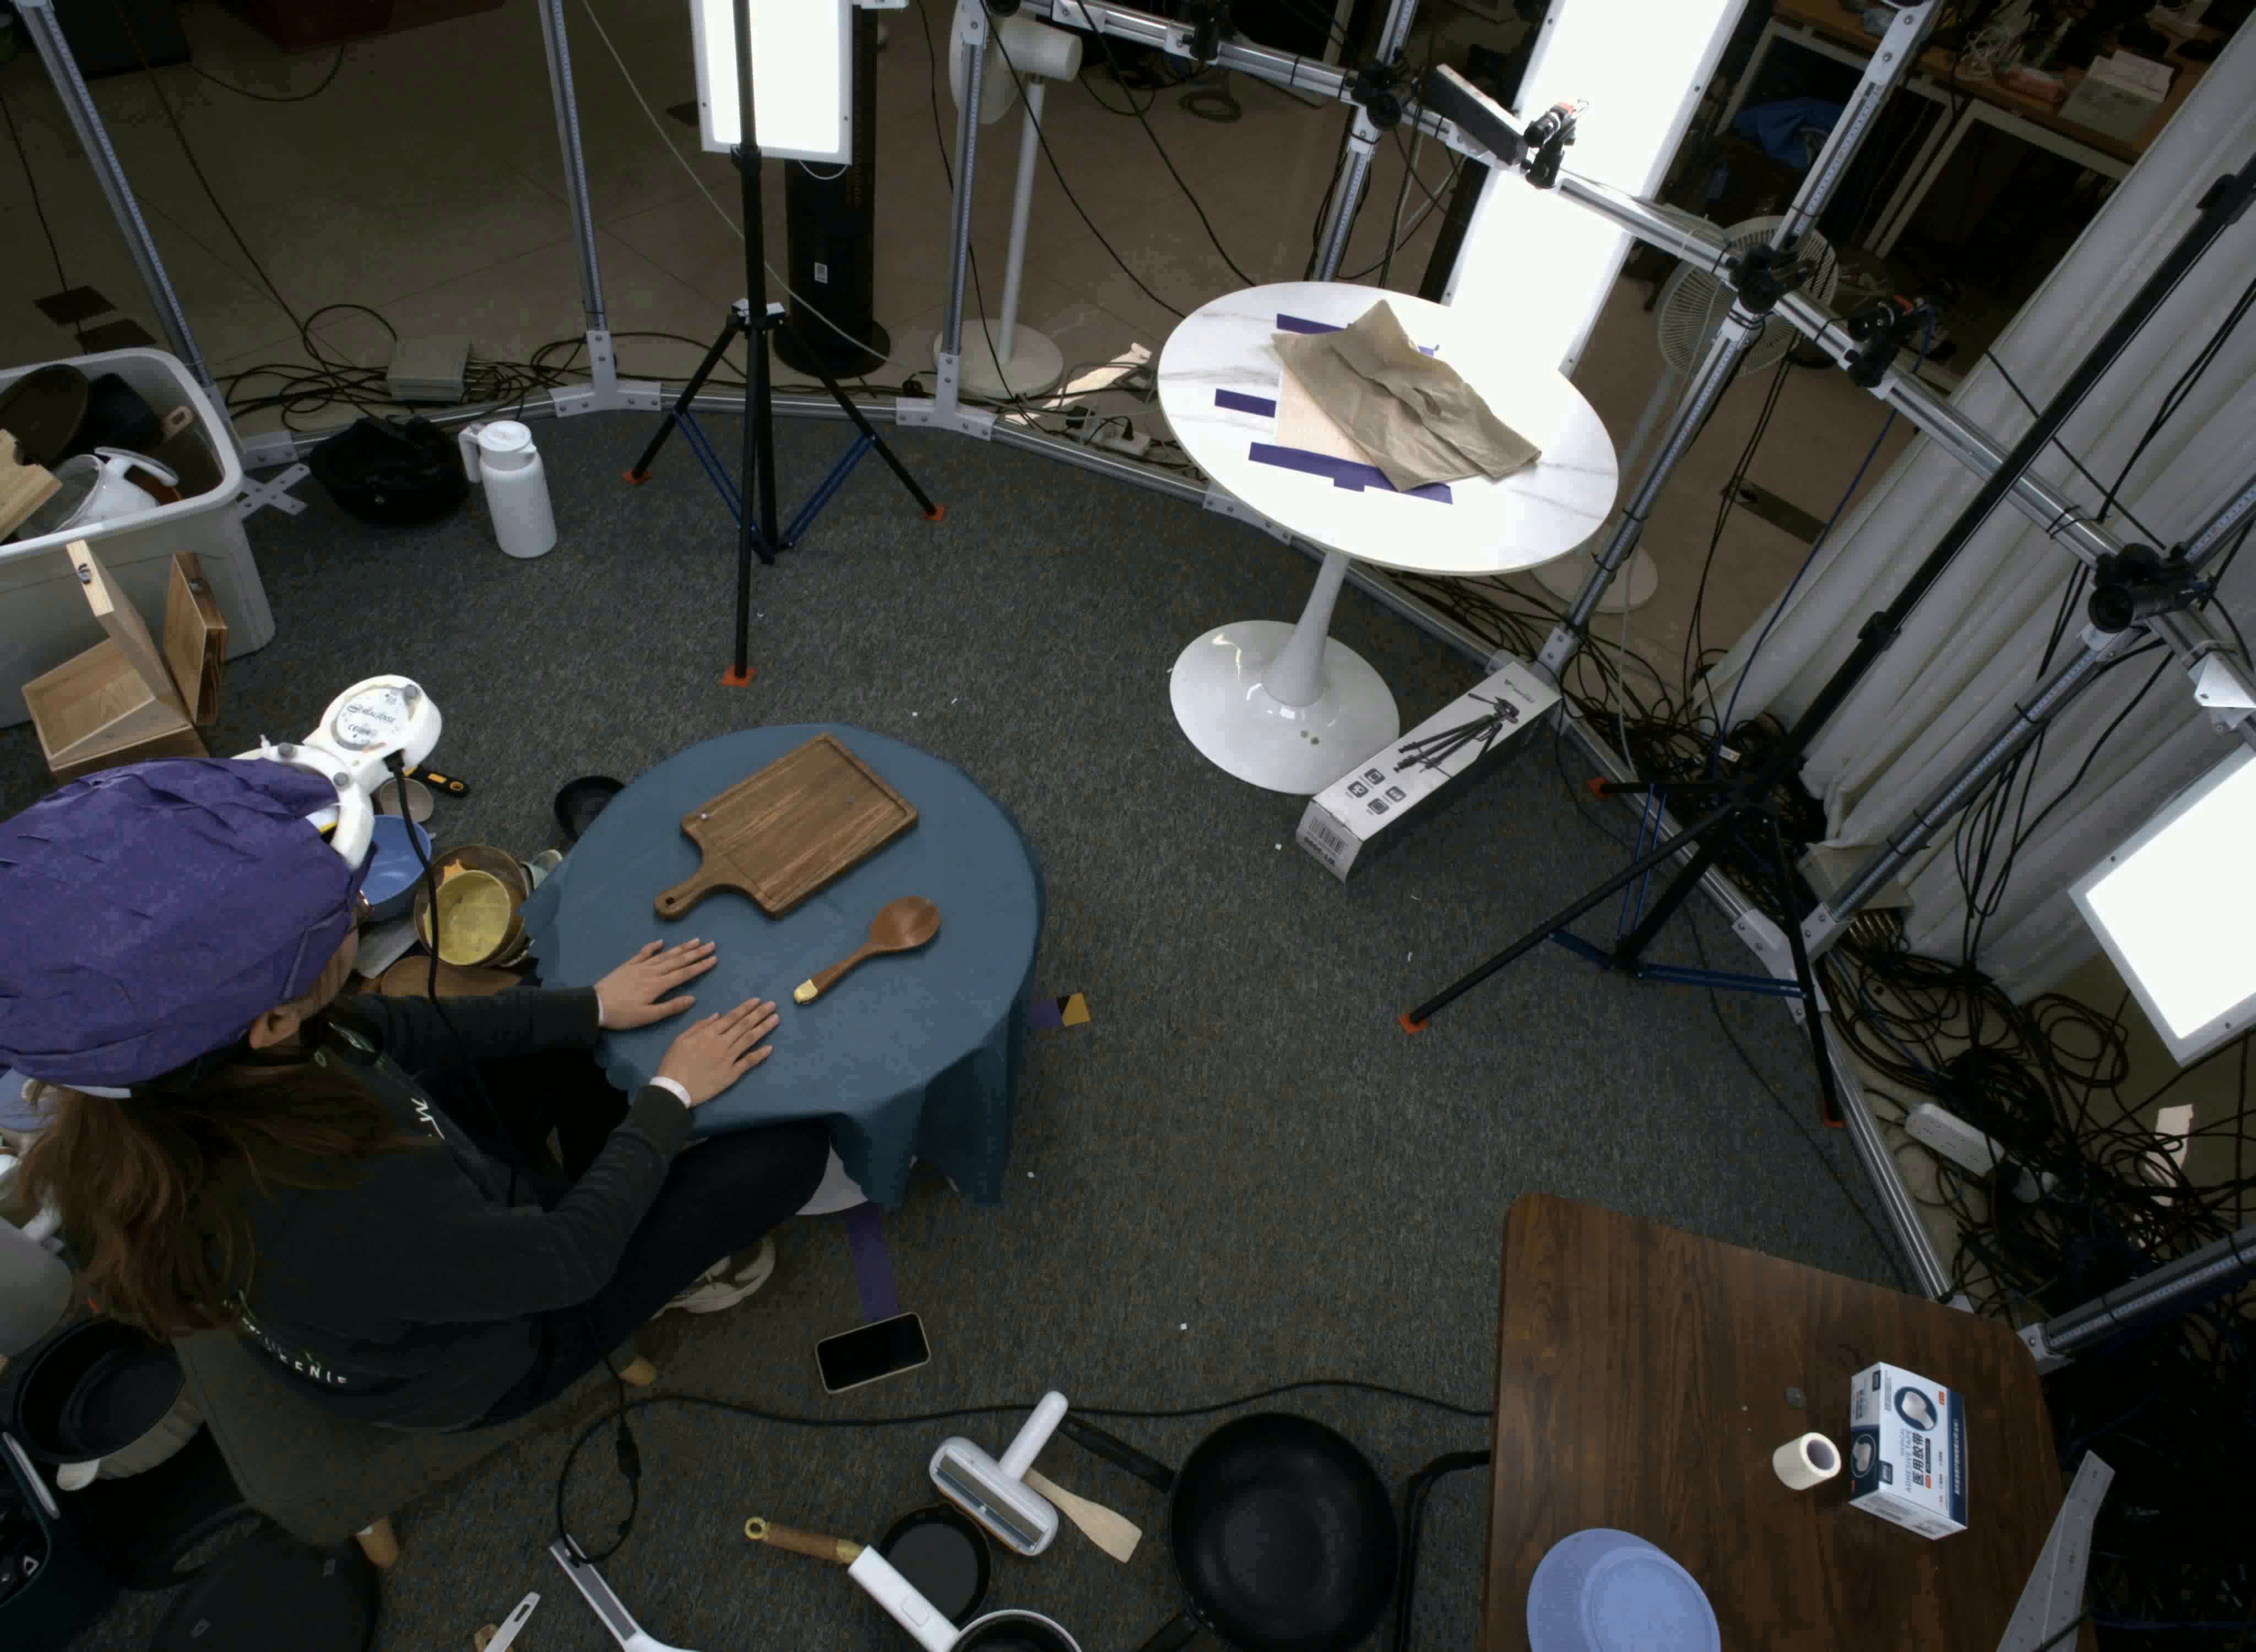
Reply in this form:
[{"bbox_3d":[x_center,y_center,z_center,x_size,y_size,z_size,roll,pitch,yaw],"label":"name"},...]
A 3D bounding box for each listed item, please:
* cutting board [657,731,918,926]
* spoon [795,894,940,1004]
[{"bbox_3d":[-0.466,0.019,1.693,0.197,0.023,0.352,41,55,15],"label":"cutting board"},{"bbox_3d":[-0.327,0.154,1.628,0.074,0.017,0.216,44,55,16],"label":"spoon"}]
